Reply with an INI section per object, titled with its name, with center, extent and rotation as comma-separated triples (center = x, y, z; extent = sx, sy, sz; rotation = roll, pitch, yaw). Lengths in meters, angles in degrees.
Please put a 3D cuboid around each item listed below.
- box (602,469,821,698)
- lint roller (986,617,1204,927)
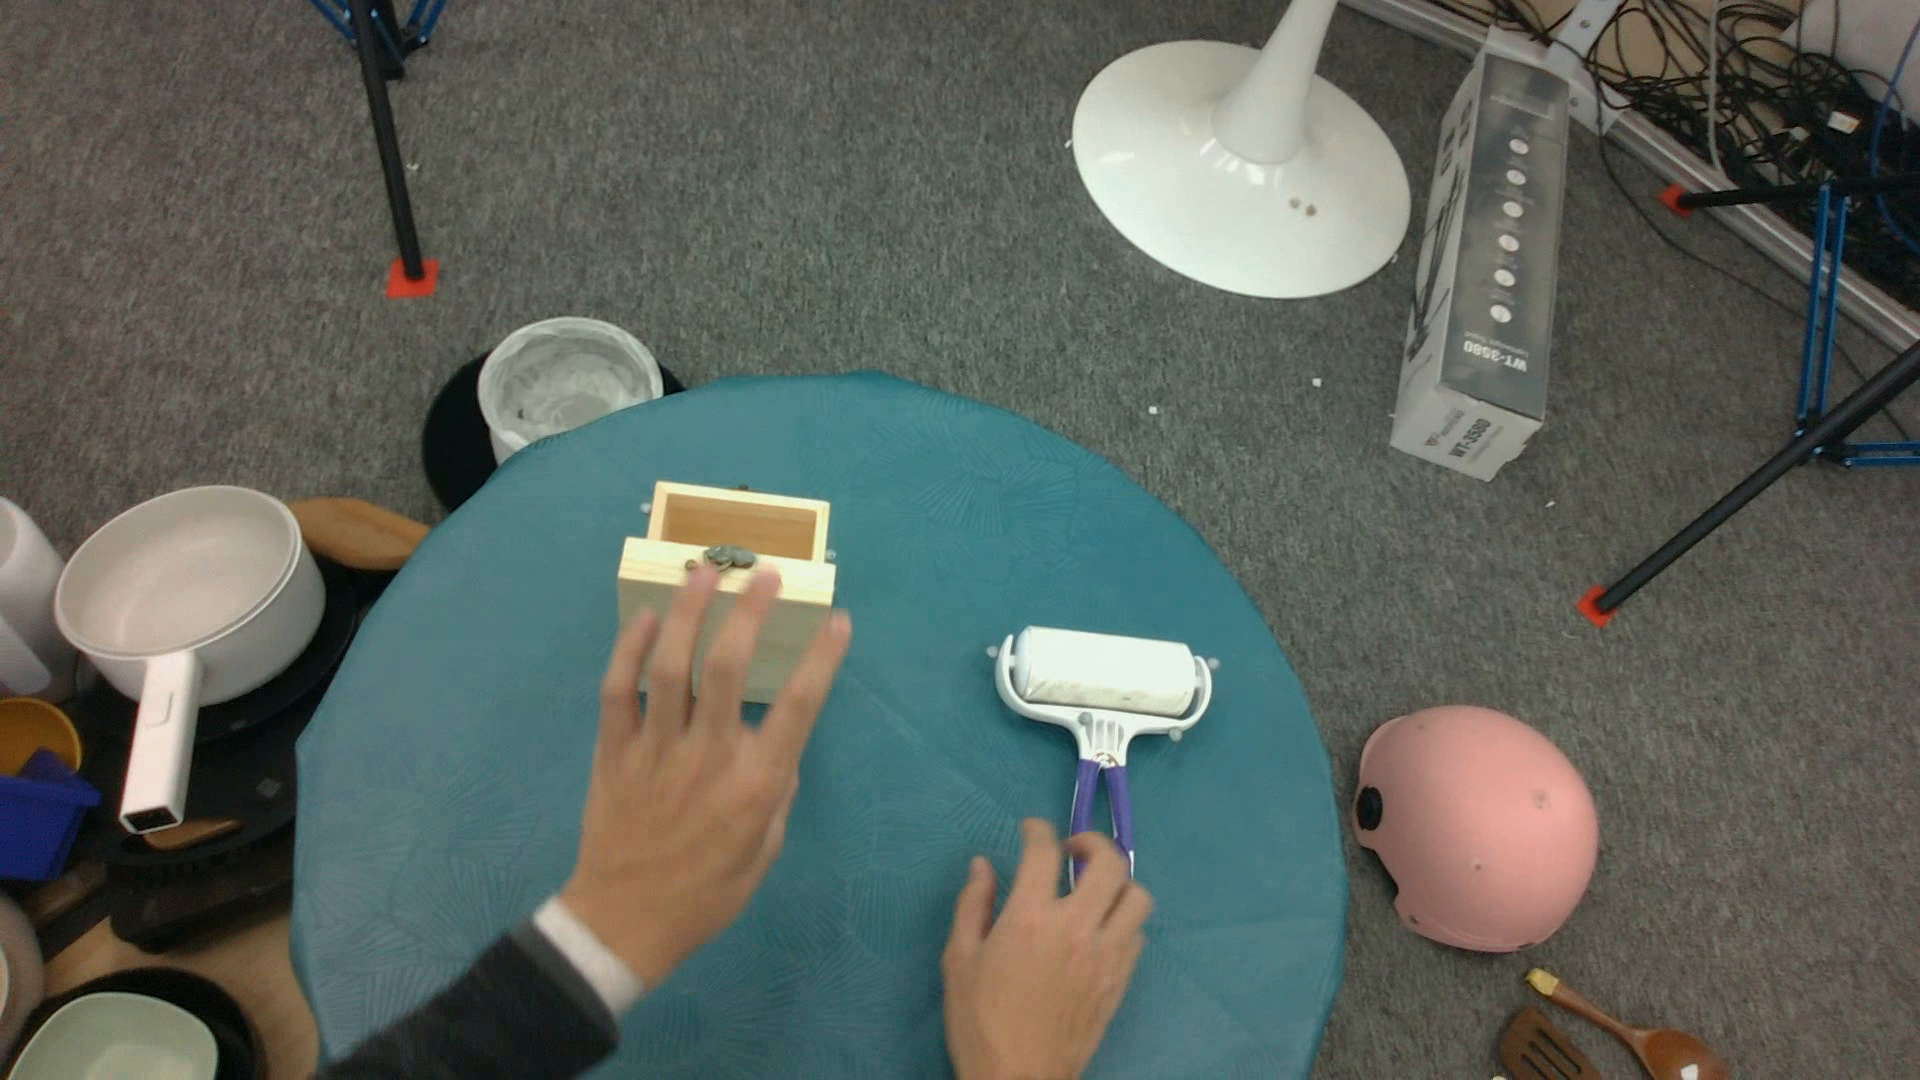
[box]
center = -0.130, 0.010, 0.755
extent = 0.102, 0.183, 0.134
rotation = 6, 60, -8
[lint roller]
center = 0.079, 0.131, 0.807
extent = 0.133, 0.050, 0.181
rotation = 9, 57, -8
